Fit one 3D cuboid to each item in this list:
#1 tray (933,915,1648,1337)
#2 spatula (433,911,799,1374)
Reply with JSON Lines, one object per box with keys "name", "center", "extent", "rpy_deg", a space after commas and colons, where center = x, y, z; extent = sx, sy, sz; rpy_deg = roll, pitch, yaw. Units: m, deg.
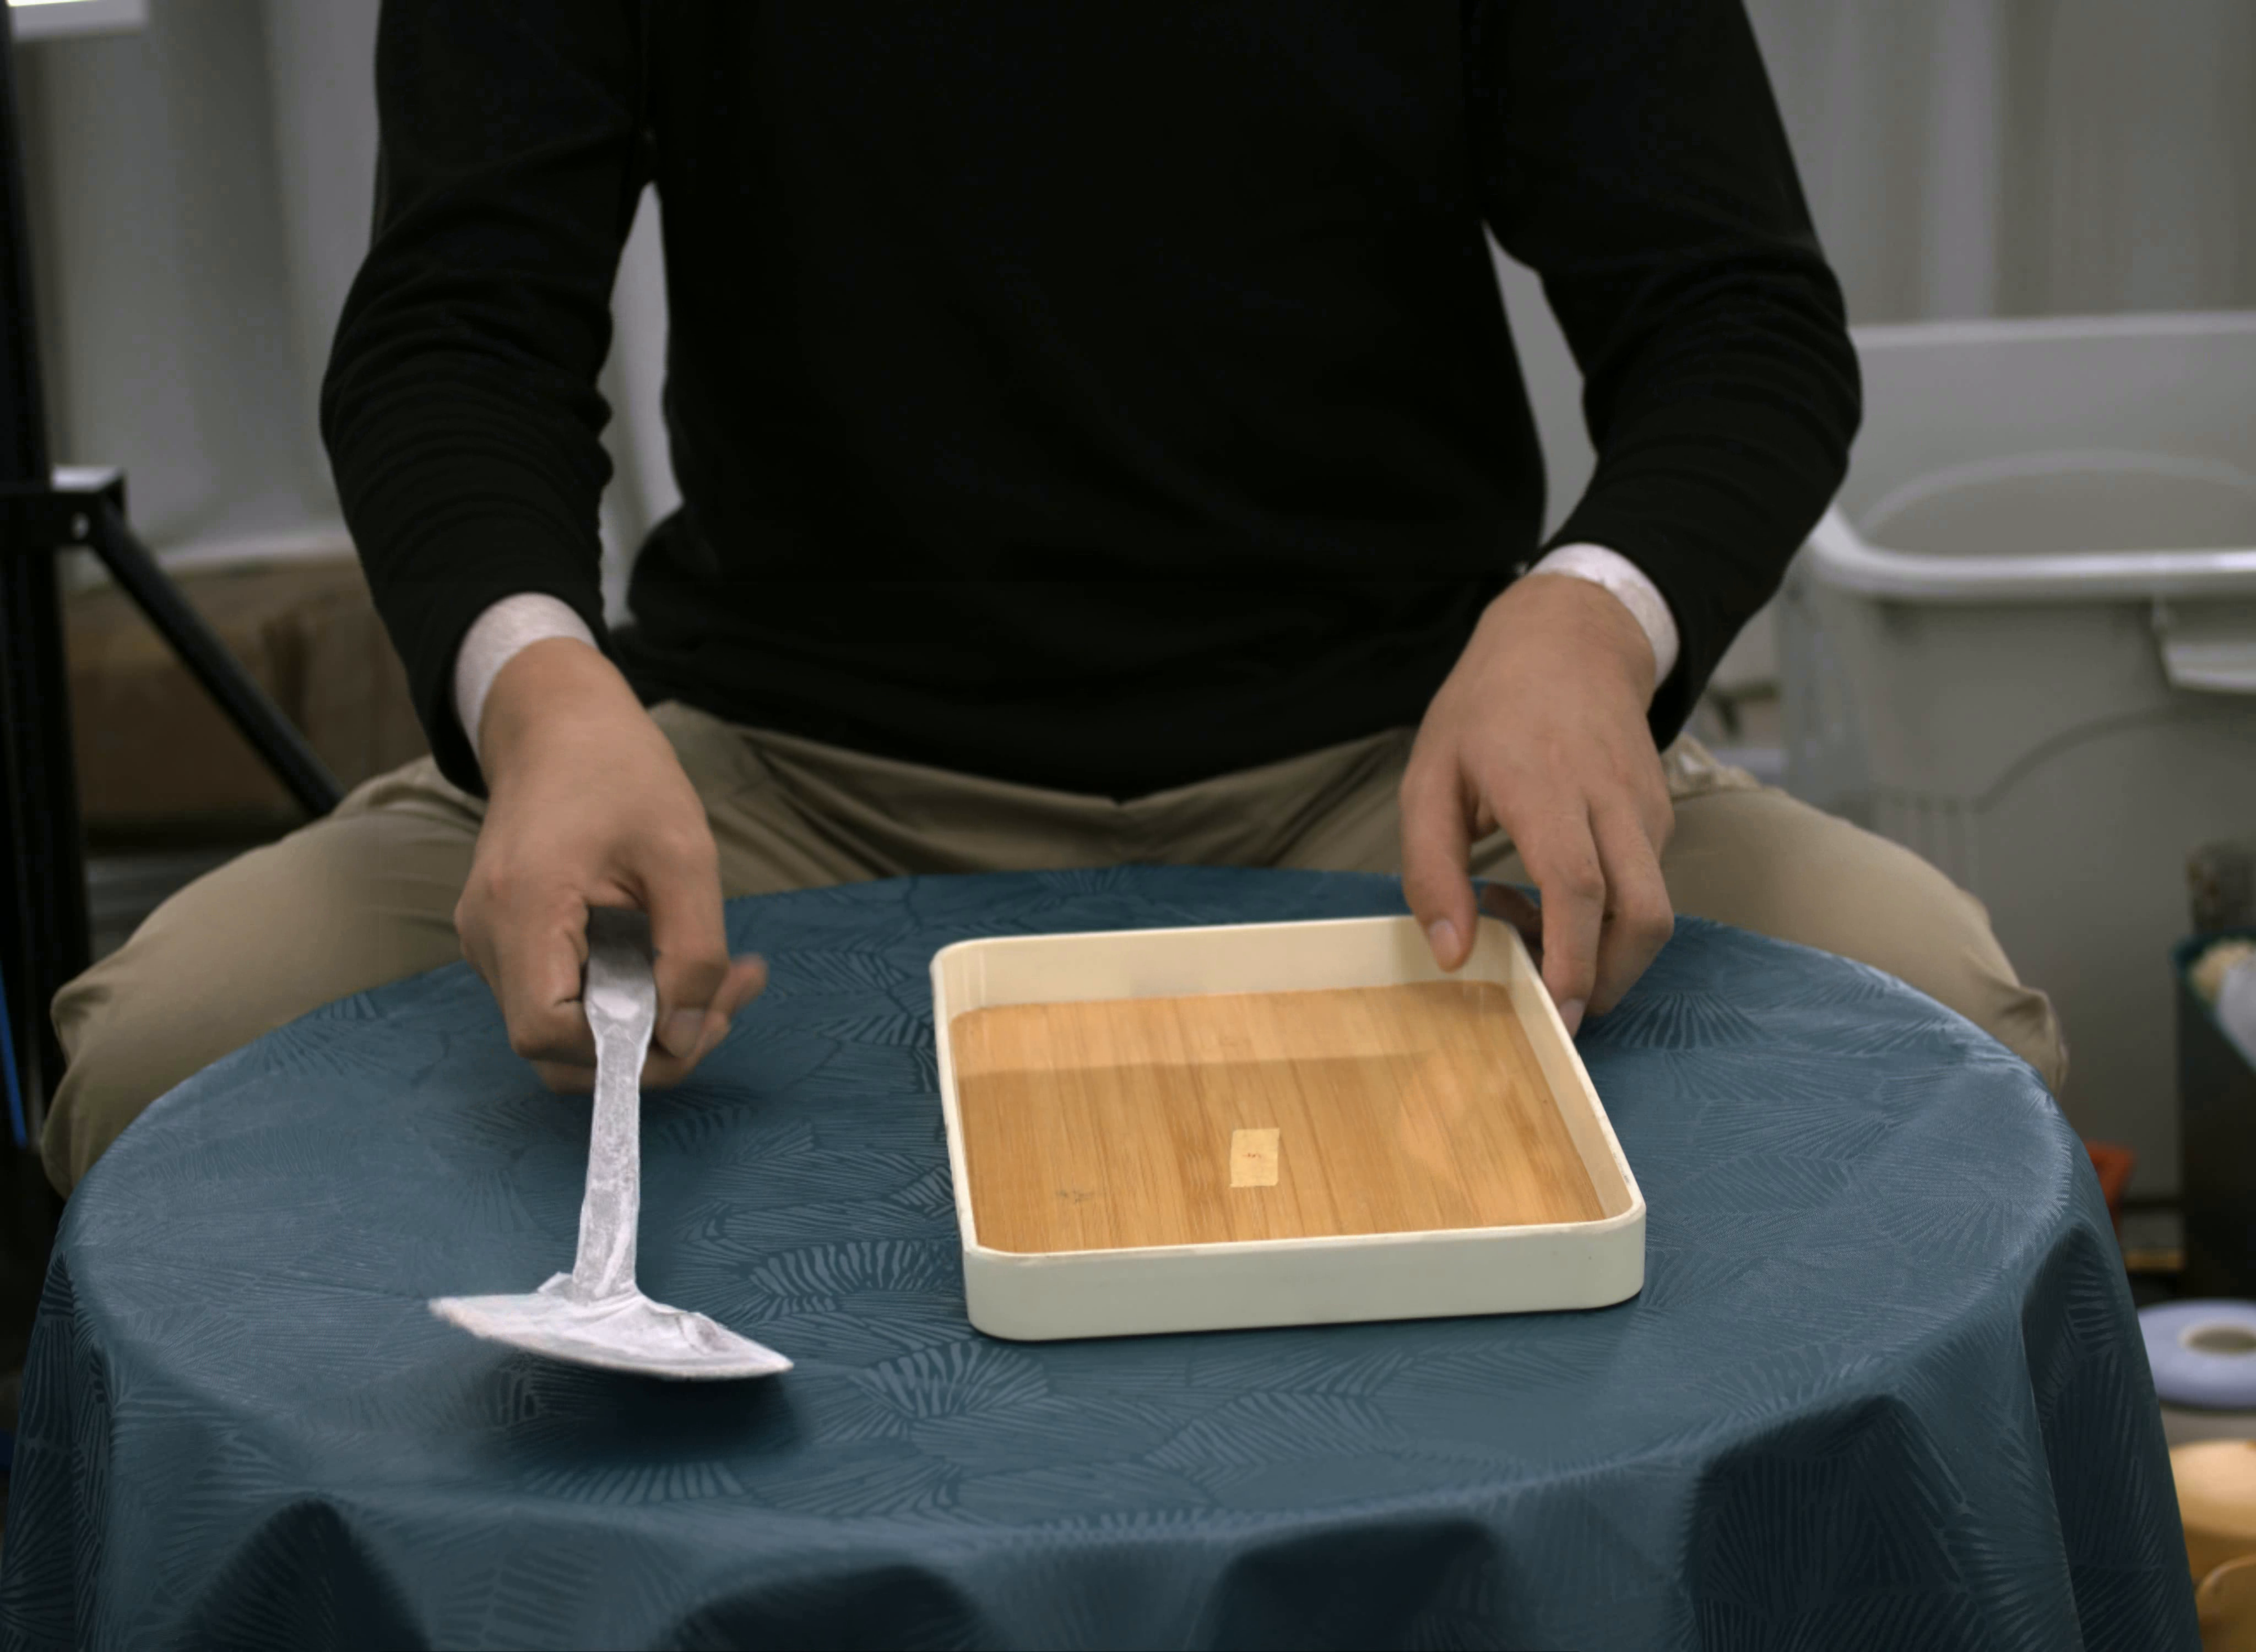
{"name": "tray", "center": [0.041, 0.085, 1.582], "extent": [0.190, 0.027, 0.302], "rpy_deg": [-3, 16, -2]}
{"name": "spatula", "center": [-0.144, 0.081, 1.542], "extent": [0.098, 0.045, 0.368], "rpy_deg": [10, 22, -7]}
